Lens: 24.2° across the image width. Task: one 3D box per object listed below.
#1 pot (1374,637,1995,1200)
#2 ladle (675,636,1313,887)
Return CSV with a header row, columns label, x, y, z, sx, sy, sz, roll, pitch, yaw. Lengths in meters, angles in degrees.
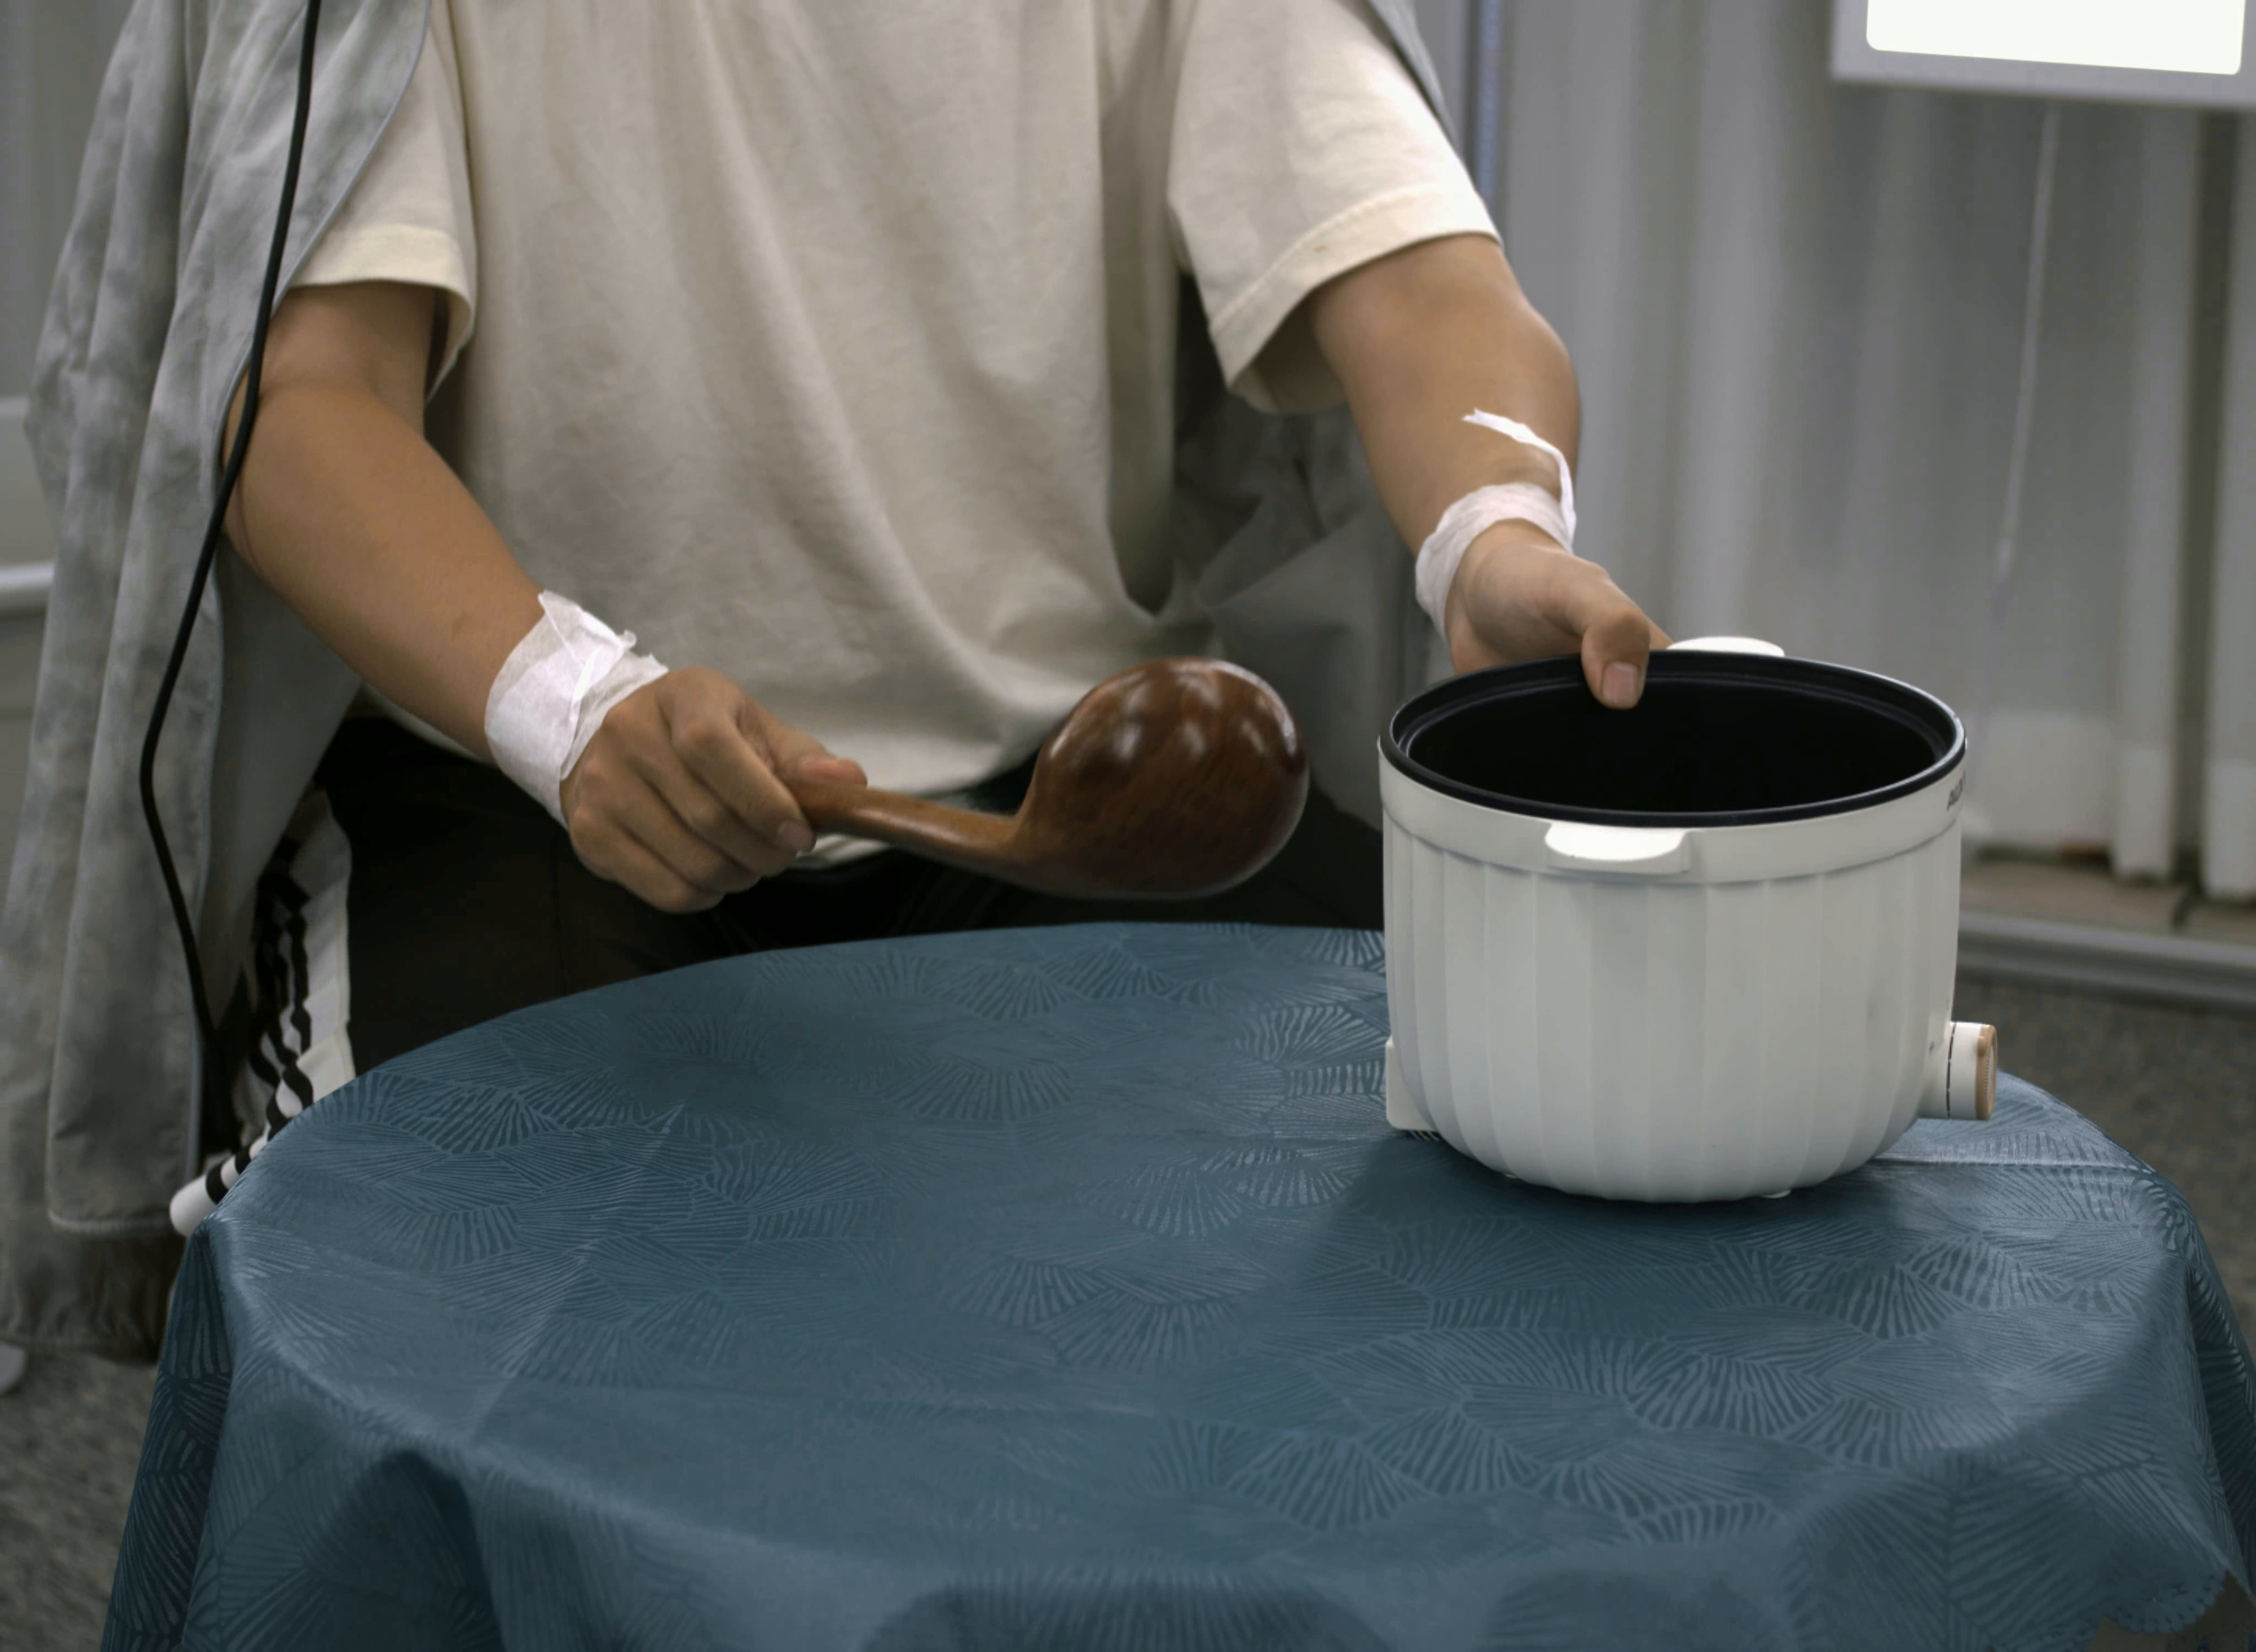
label,x,y,z,sx,sy,sz,roll,pitch,yaw
pot,0.174,0.032,1.650,0.189,0.144,0.240,0,19,15
ladle,-0.048,-0.022,1.637,0.271,0.083,0.076,6,52,54
